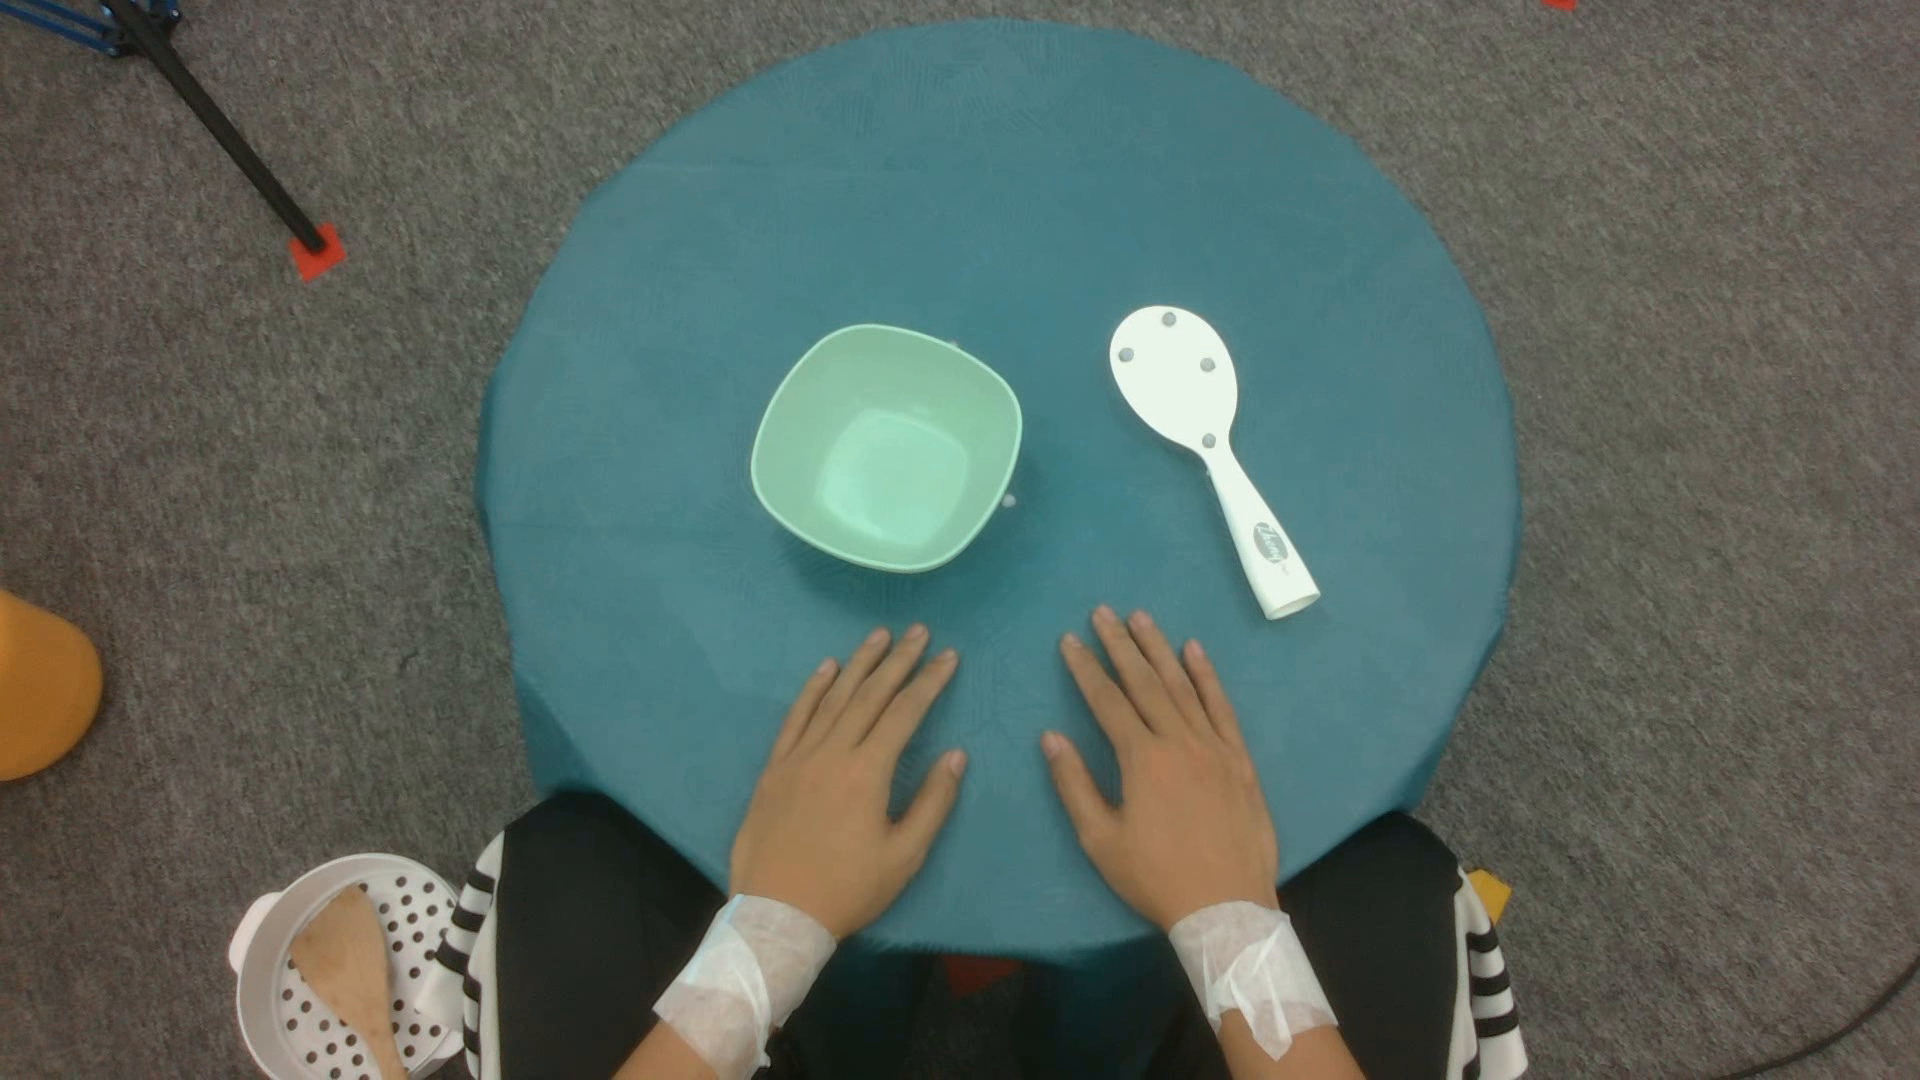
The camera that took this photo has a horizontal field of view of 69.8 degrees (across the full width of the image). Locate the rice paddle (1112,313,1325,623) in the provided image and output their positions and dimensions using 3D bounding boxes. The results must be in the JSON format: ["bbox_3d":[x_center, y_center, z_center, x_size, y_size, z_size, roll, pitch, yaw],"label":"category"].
[{"bbox_3d":[0.149,-0.049,0.796,0.069,0.029,0.205,-21,69,-8],"label":"rice paddle"}]

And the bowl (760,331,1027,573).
[{"bbox_3d":[-0.036,-0.041,0.782,0.151,0.058,0.152,0,67,0],"label":"bowl"}]
